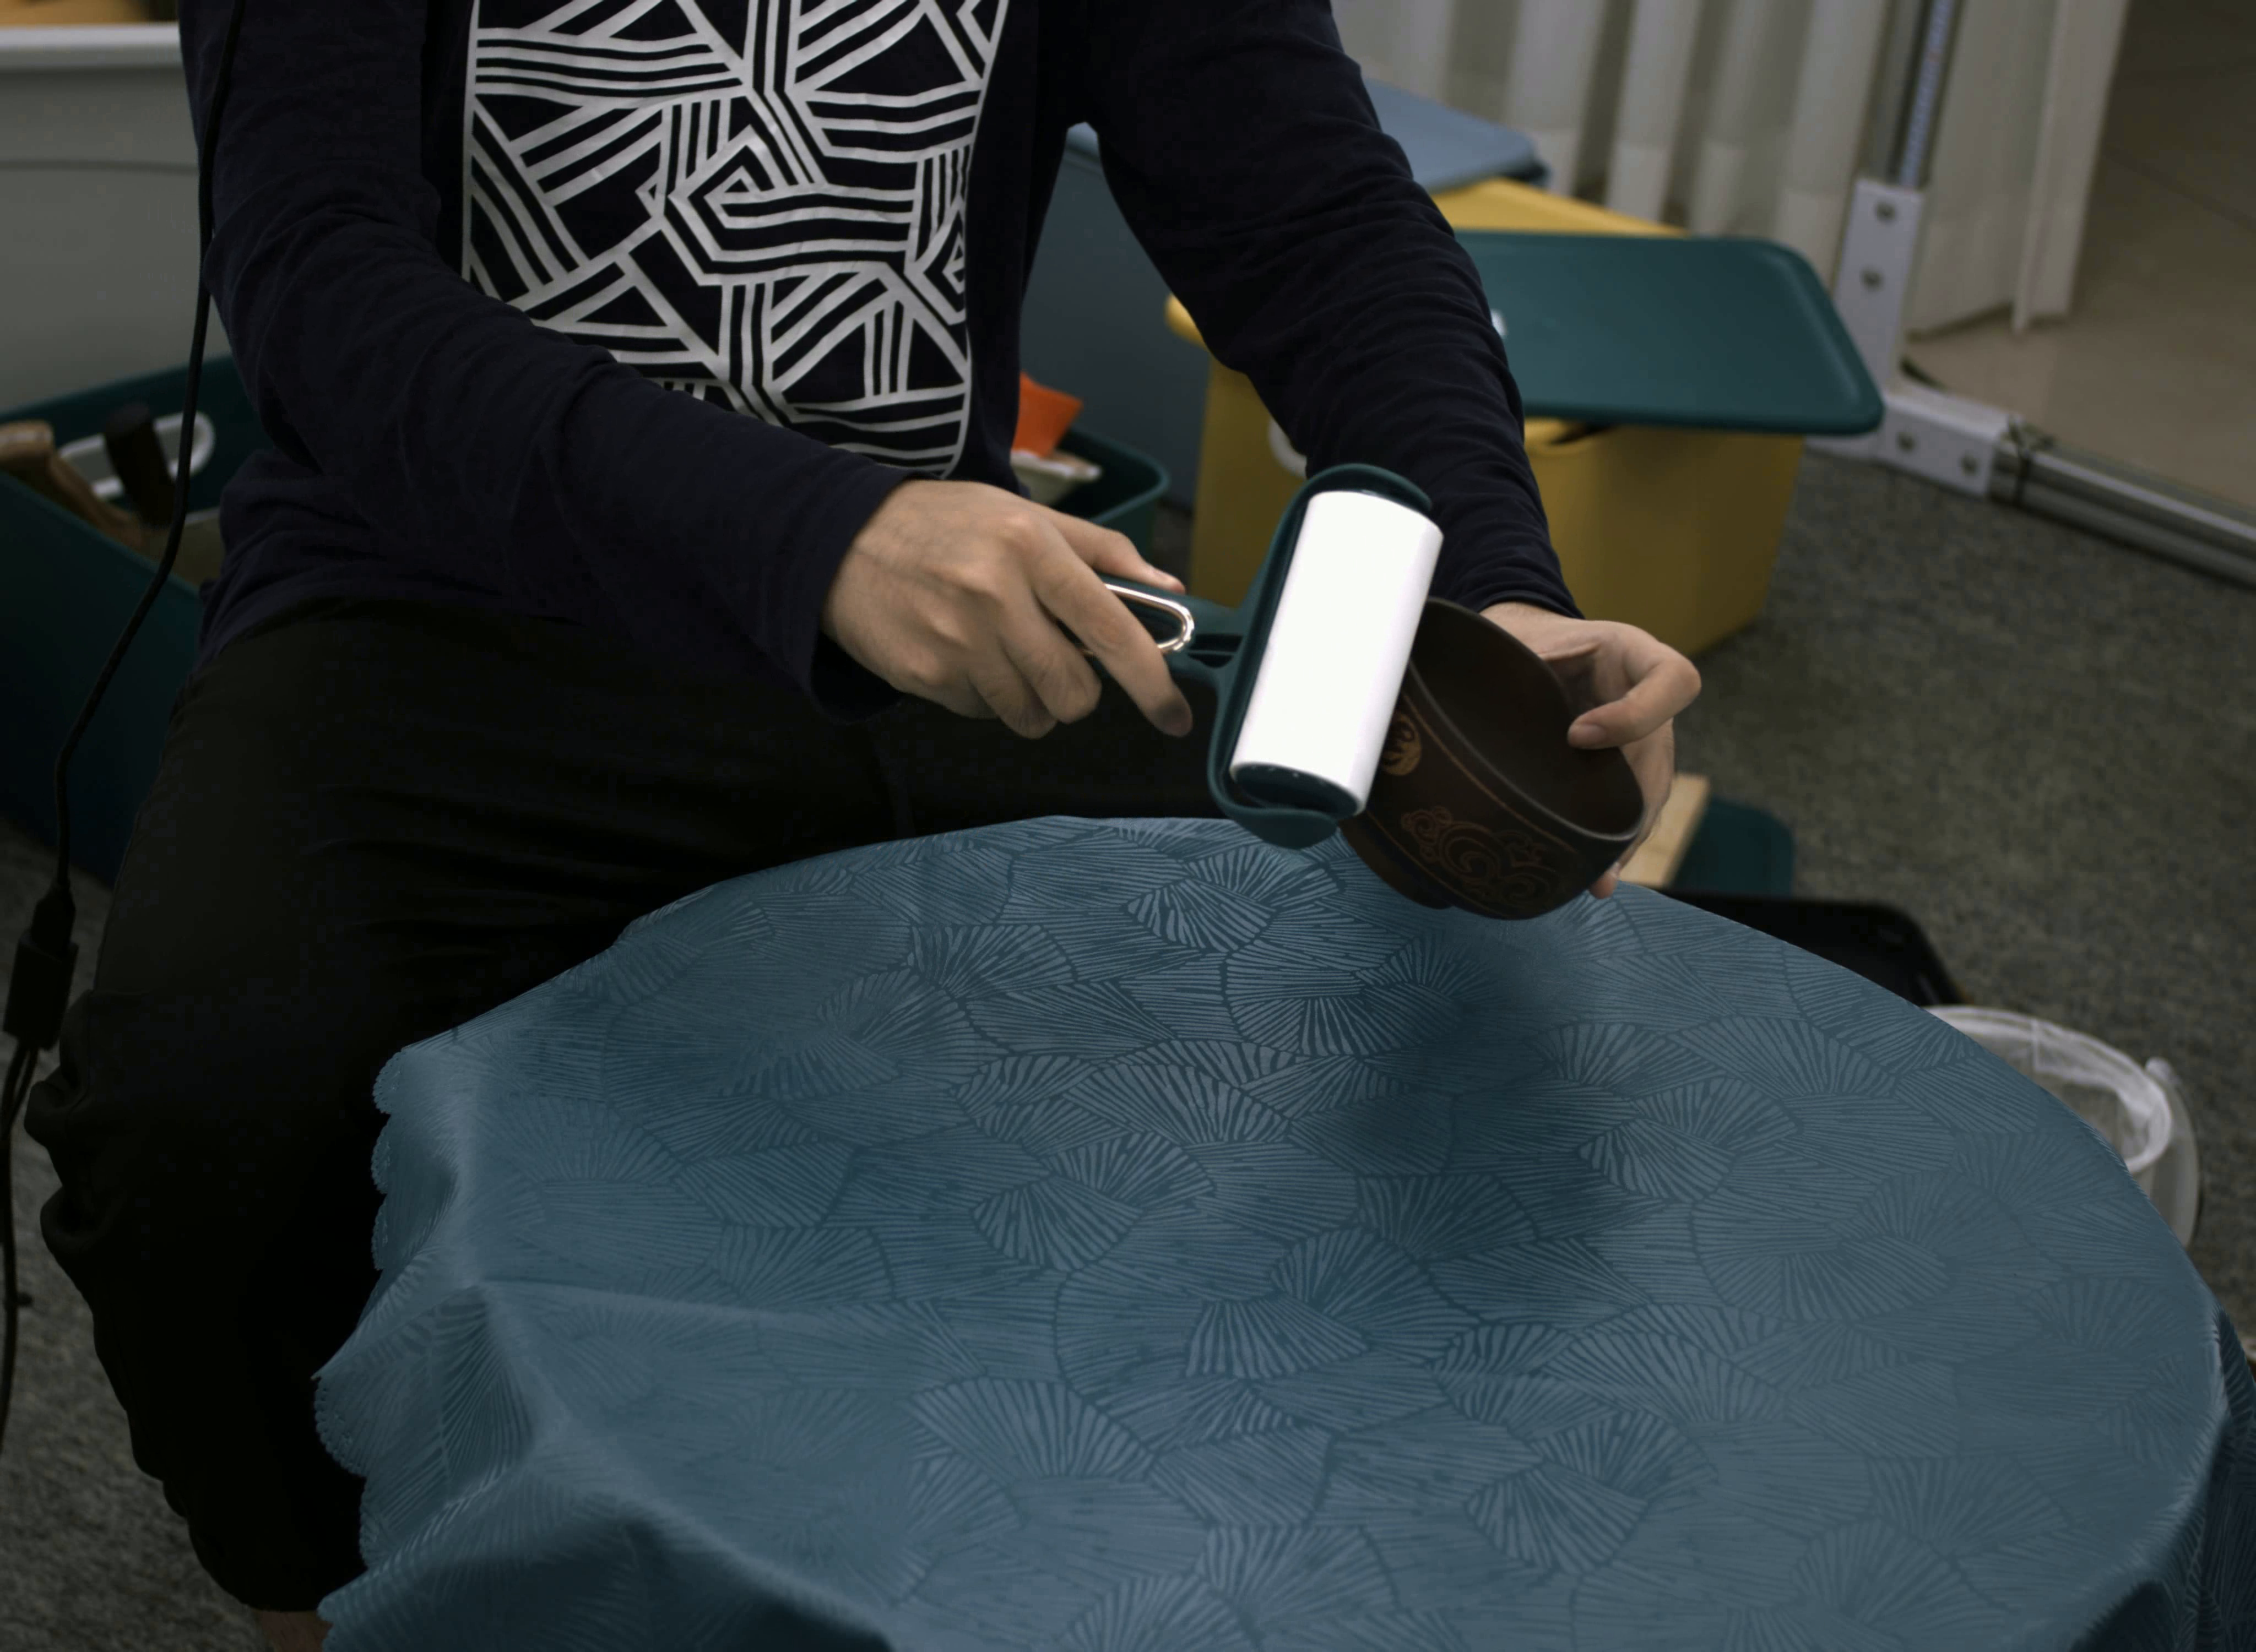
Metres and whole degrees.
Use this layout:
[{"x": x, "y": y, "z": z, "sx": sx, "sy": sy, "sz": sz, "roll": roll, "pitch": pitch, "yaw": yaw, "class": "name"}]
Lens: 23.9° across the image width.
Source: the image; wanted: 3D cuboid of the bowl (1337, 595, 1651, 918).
[{"x": 0.115, "y": -0.015, "z": 1.832, "sx": 0.117, "sy": 0.070, "sz": 0.119, "roll": 32, "pitch": 24, "yaw": -17, "class": "bowl"}]

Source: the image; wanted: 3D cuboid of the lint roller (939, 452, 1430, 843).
[{"x": 0.007, "y": -0.068, "z": 1.804, "sx": 0.181, "sy": 0.135, "sz": 0.048, "roll": 8, "pitch": -18, "yaw": 26, "class": "lint roller"}]
